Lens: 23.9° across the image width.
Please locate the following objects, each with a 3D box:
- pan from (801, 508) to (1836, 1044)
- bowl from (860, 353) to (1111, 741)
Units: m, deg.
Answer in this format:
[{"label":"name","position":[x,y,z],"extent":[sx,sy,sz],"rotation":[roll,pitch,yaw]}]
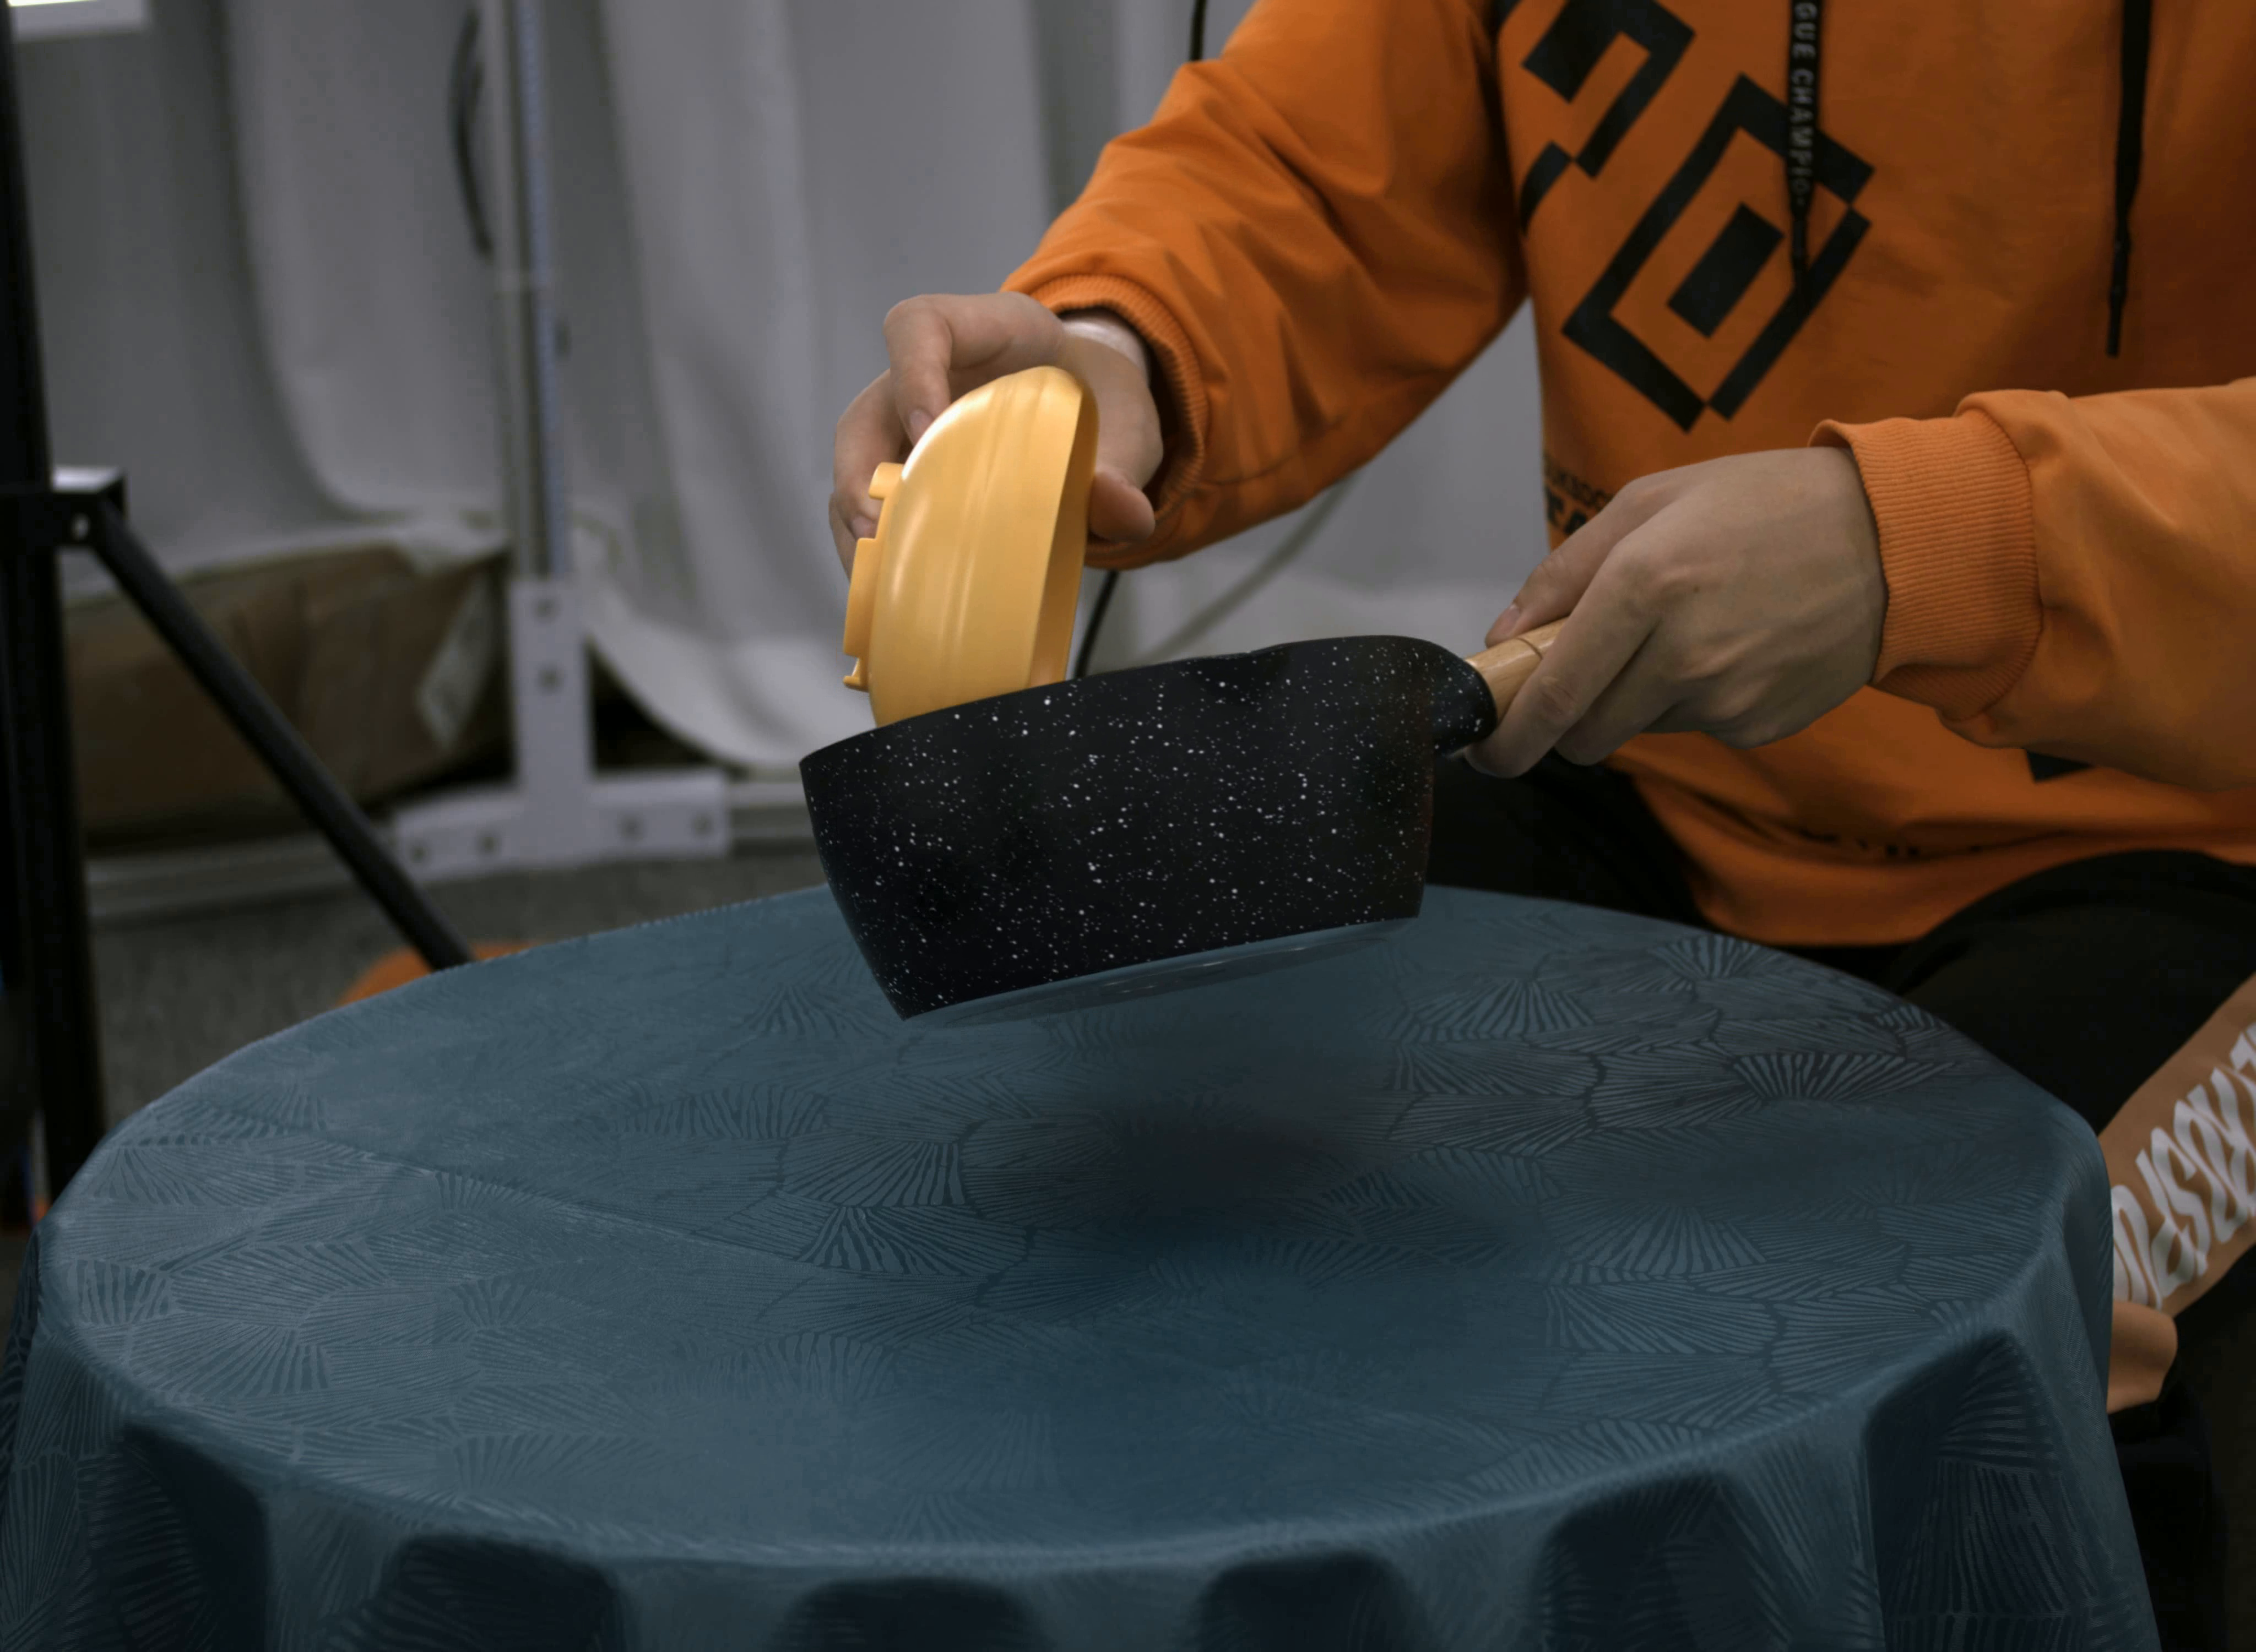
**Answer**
[{"label":"pan","position":[0.071,-0.017,1.580],"extent":[0.336,0.109,0.210],"rotation":[-10,-6,-24]},{"label":"bowl","position":[-0.043,-0.067,1.544],"extent":[0.060,0.145,0.145],"rotation":[5,16,5]}]
